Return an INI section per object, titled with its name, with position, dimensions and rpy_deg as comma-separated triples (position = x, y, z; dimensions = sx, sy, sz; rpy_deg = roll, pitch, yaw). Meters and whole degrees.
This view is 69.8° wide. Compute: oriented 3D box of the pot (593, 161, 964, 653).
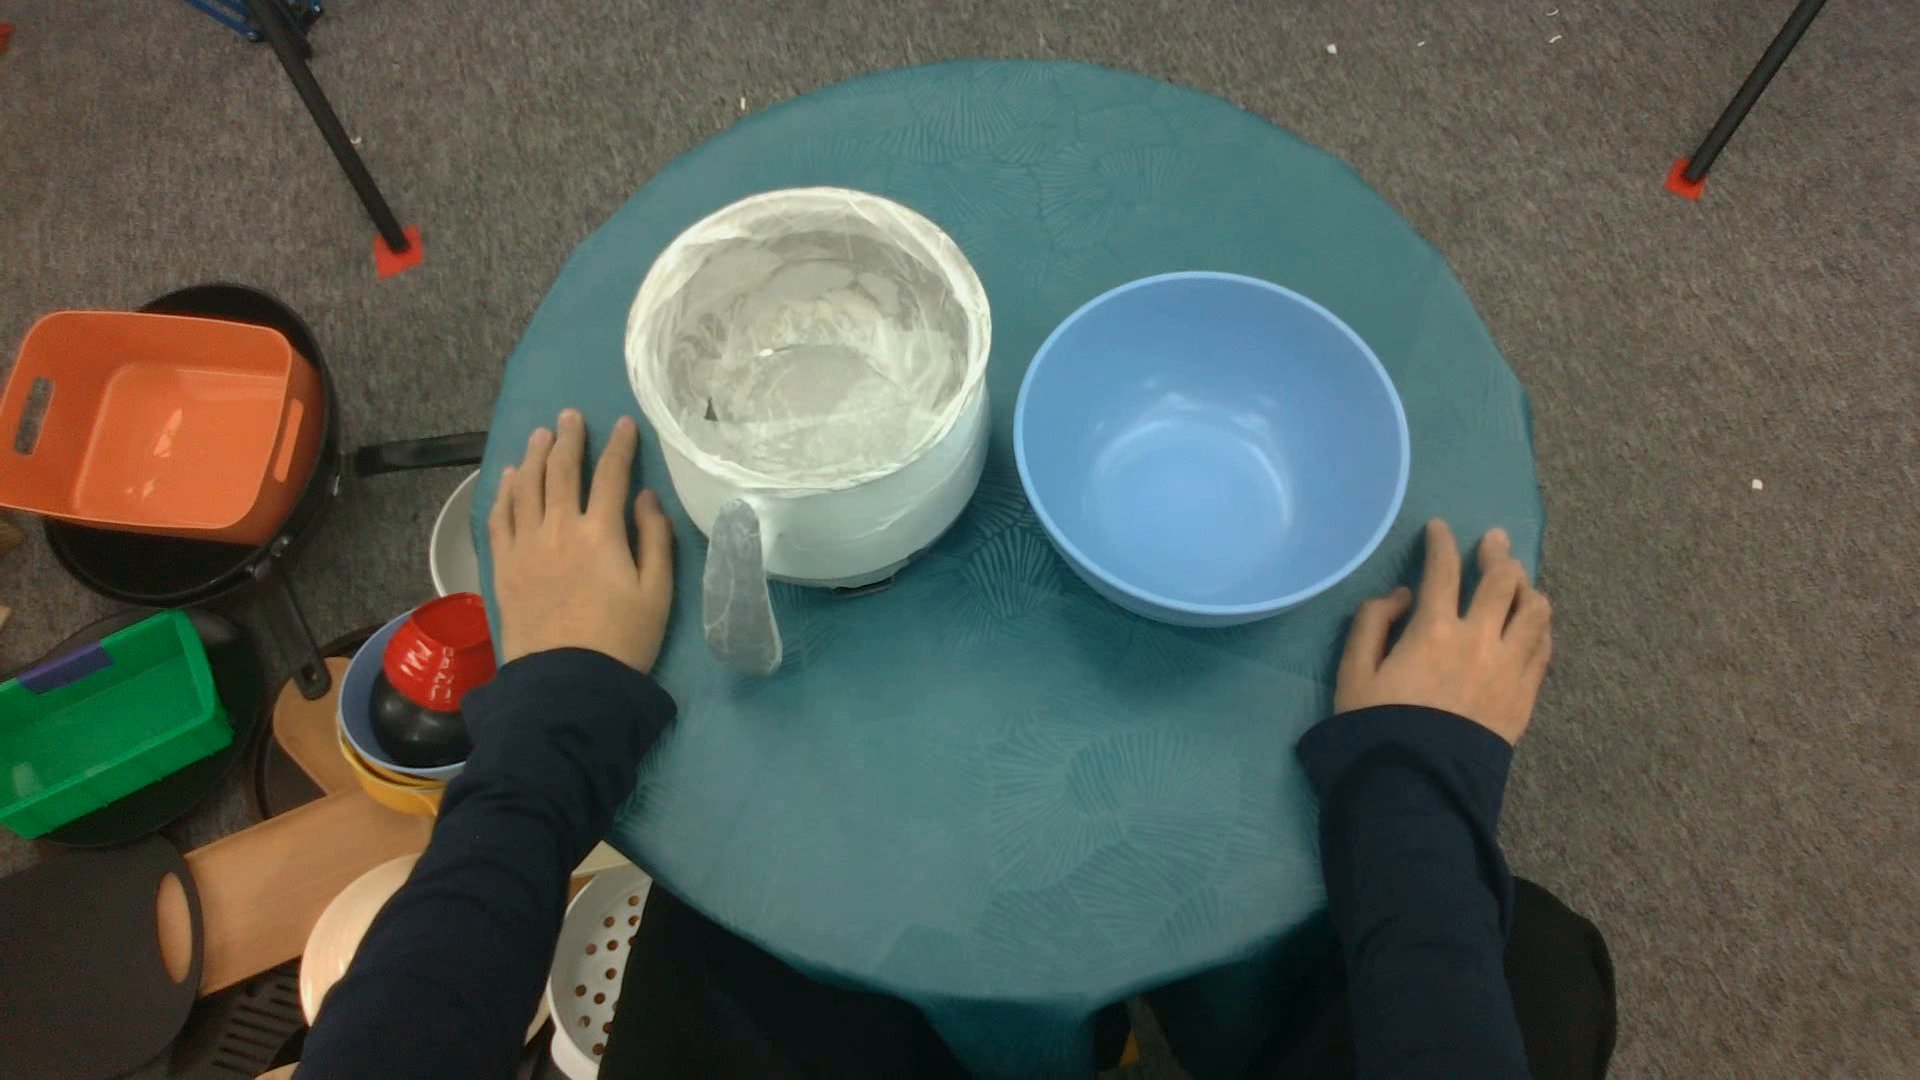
[pot]
position = -0.094, -0.063, 0.710
dimensions = 0.178, 0.136, 0.234
rpy_deg = 12, 65, 7

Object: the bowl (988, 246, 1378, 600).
[bowl]
position = 0.110, -0.048, 0.729
dimensions = 0.196, 0.095, 0.197
rpy_deg = 1, 63, -2
